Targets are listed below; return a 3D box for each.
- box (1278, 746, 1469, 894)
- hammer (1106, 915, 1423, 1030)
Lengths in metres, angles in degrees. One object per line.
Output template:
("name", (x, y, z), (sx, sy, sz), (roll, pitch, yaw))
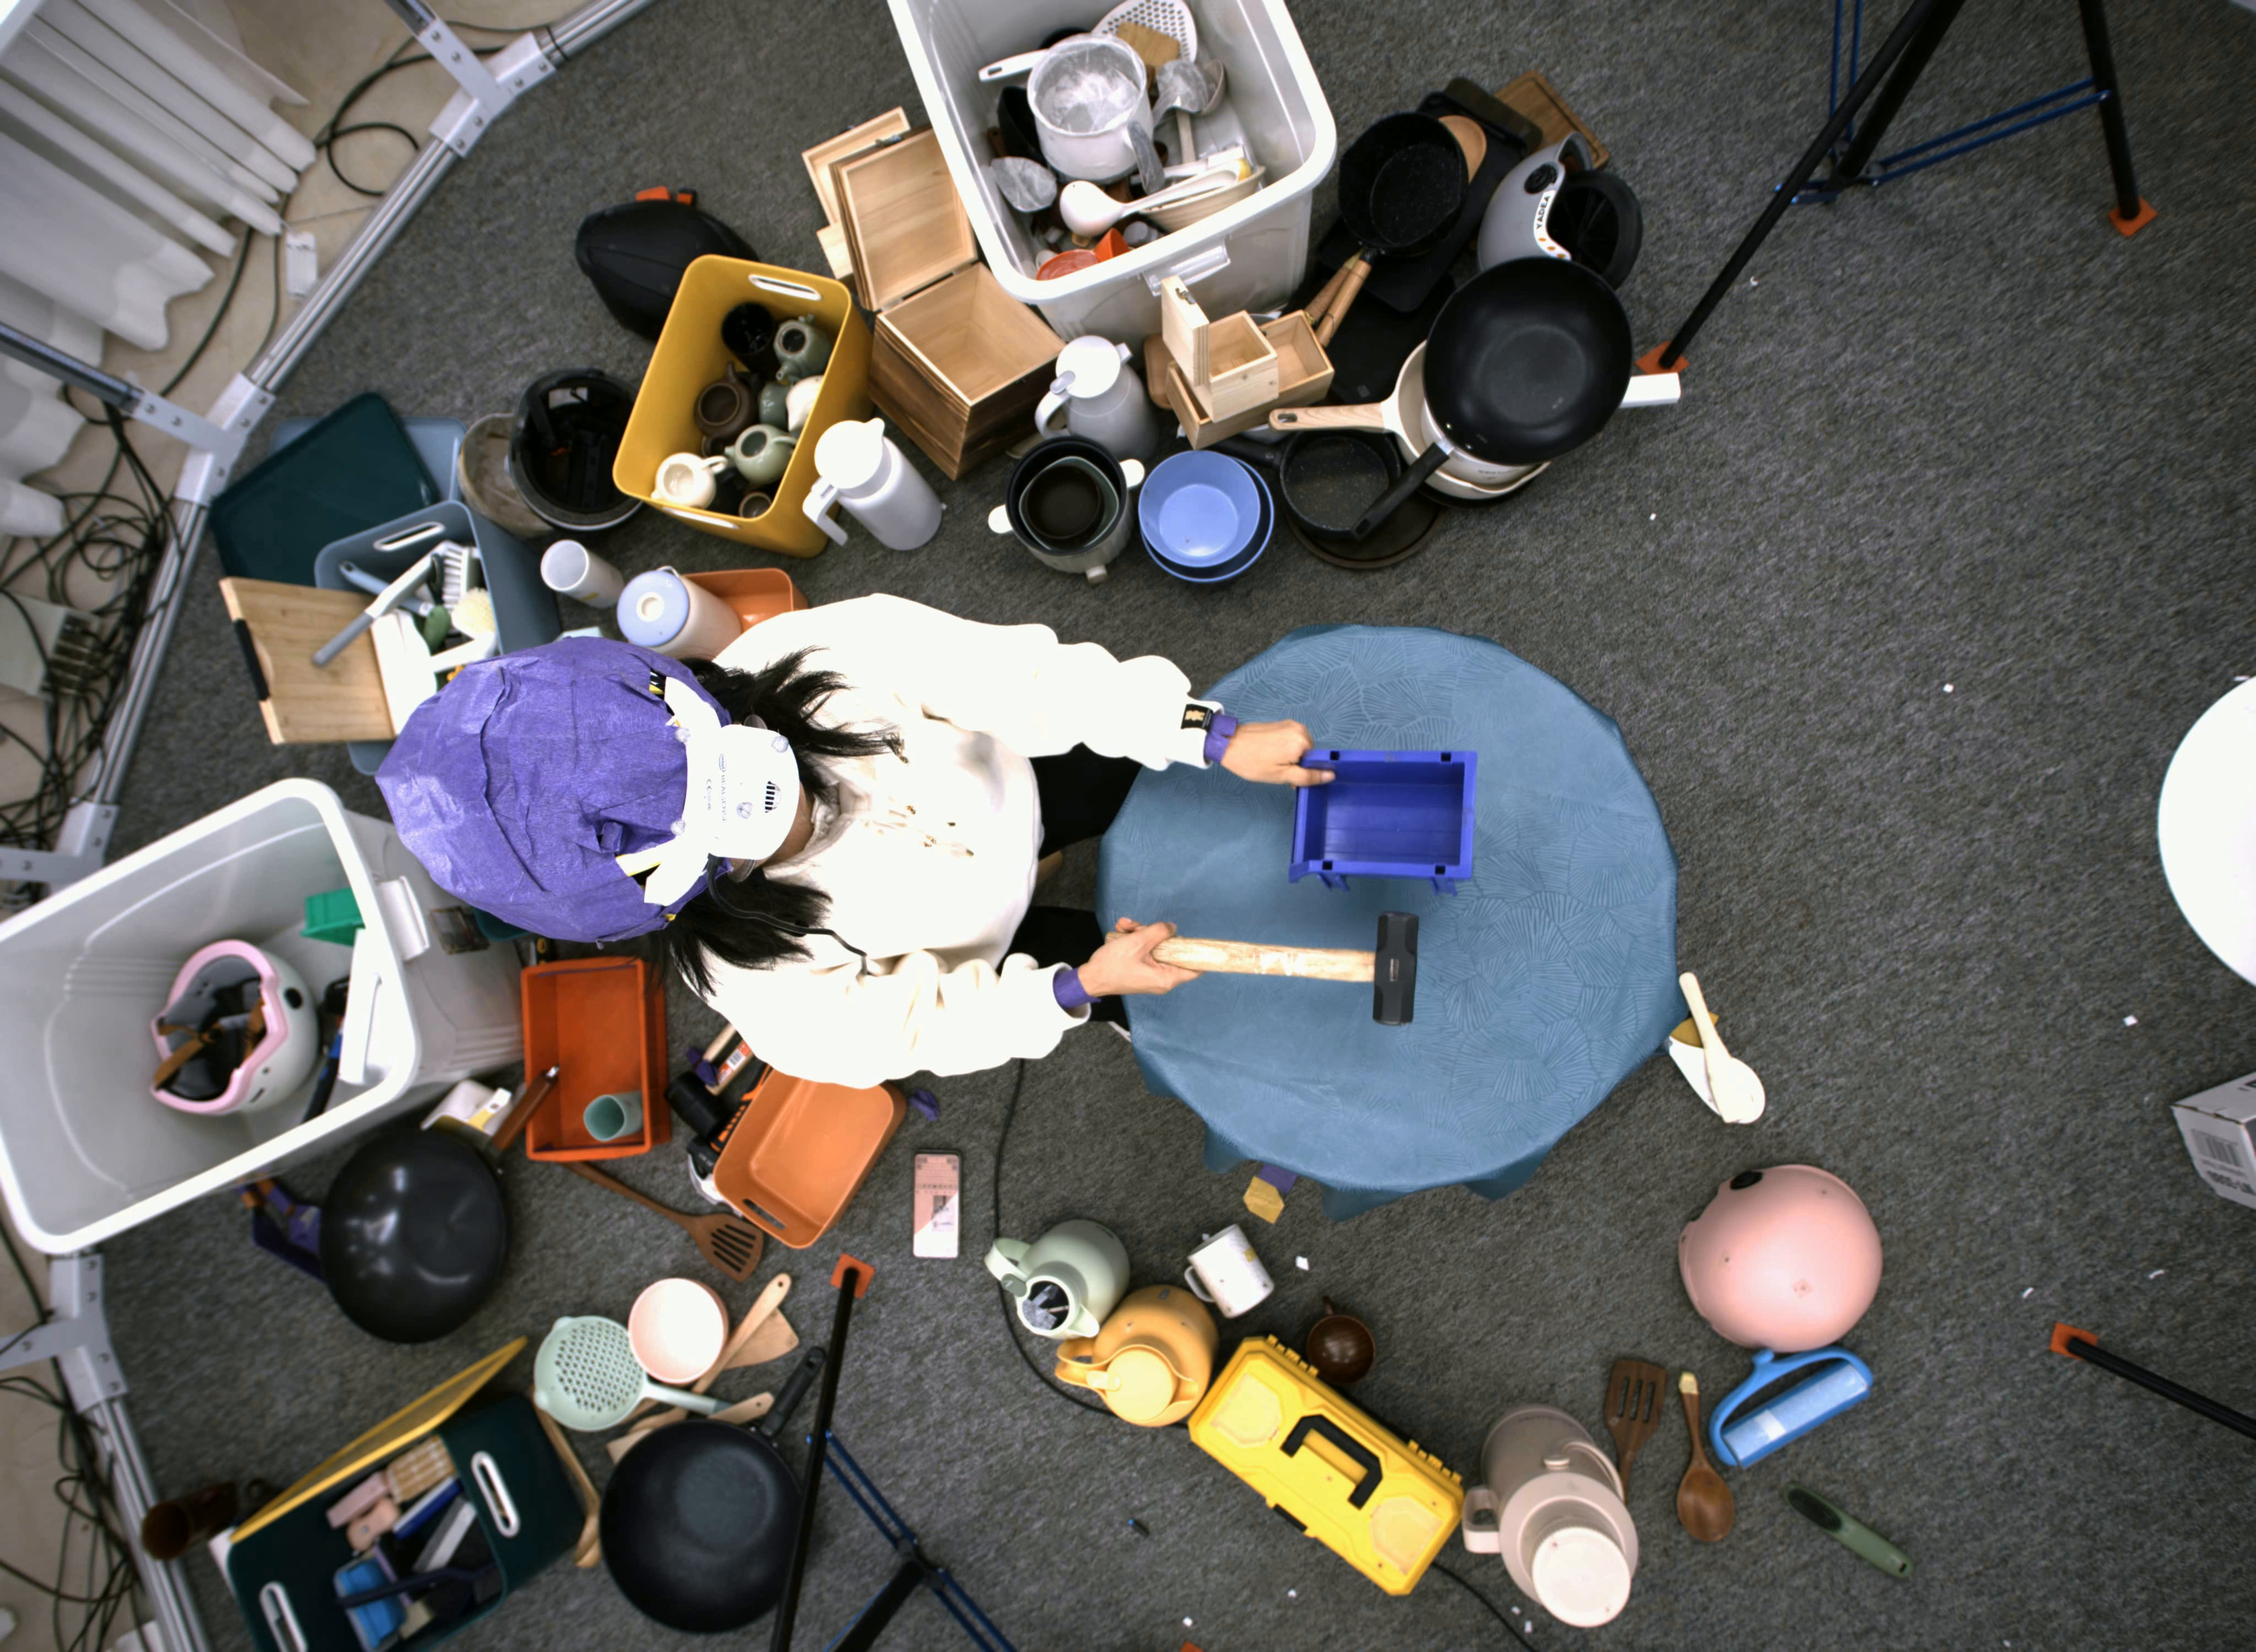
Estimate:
("box", (0.234, -0.006, 1.325), (0.180, 0.082, 0.123), (3, 79, 16))
("hammer", (0.127, 0.124, 1.349), (0.306, 0.038, 0.107), (6, 95, 16))
